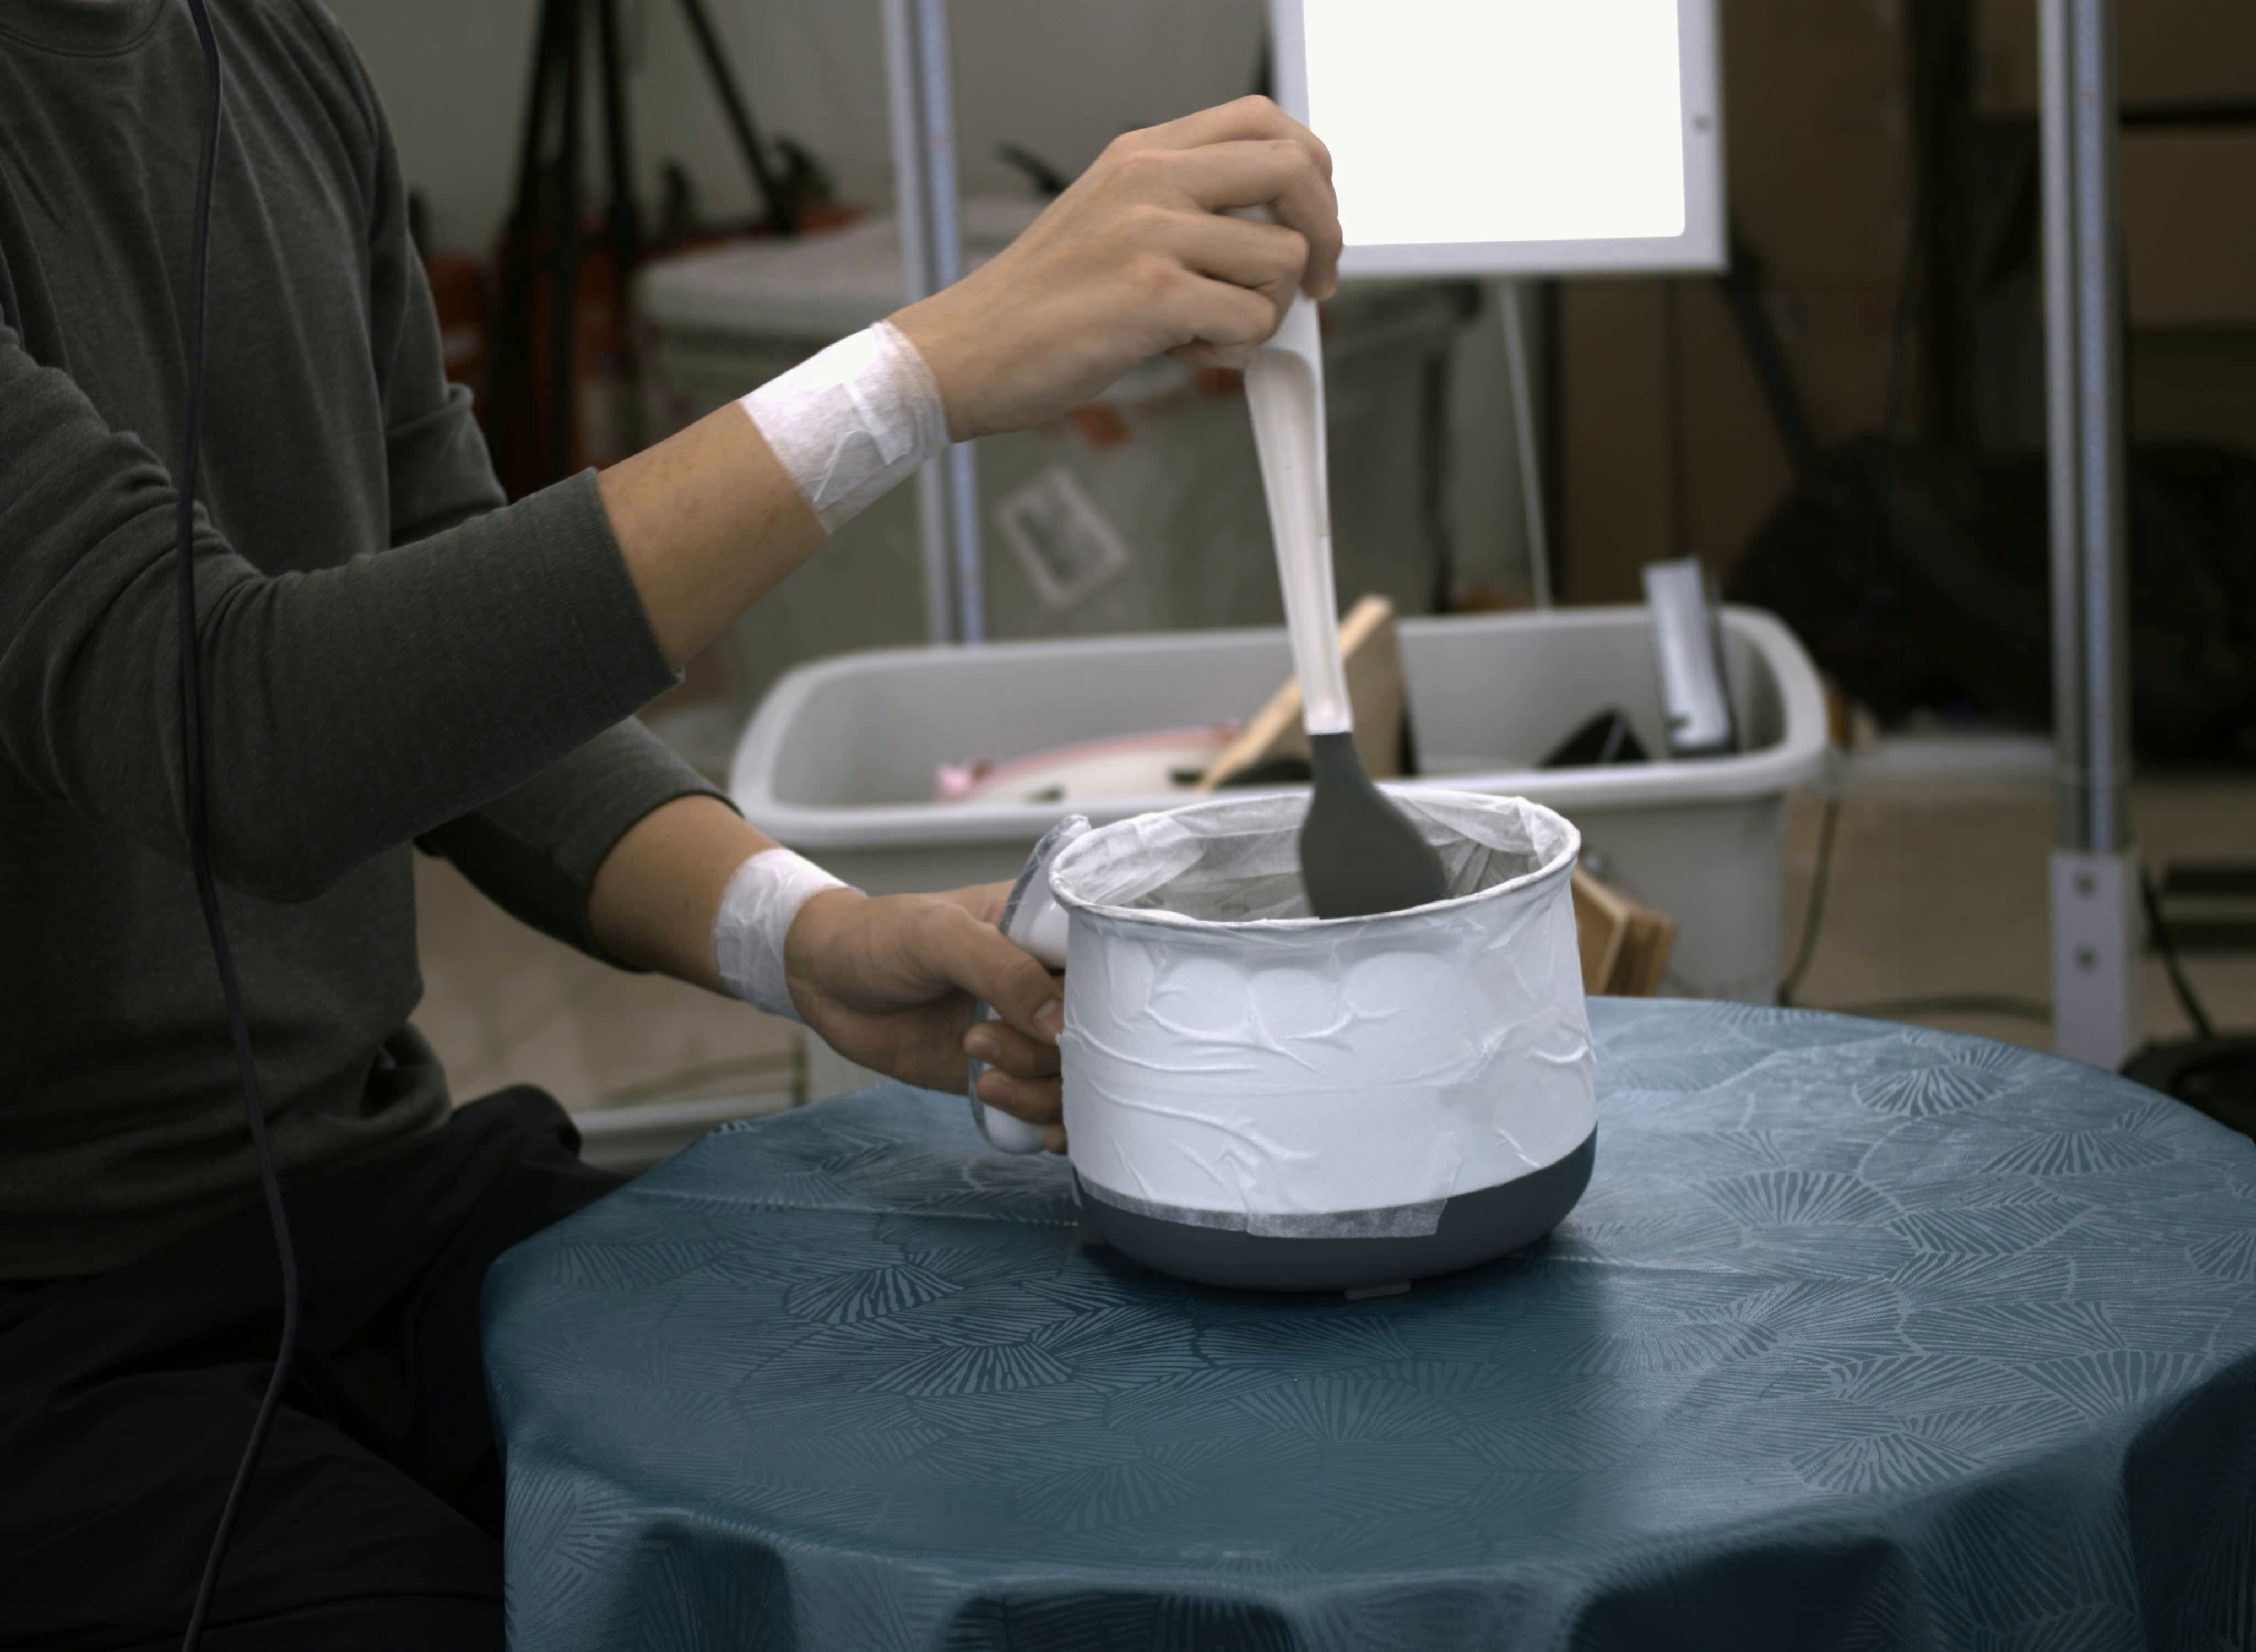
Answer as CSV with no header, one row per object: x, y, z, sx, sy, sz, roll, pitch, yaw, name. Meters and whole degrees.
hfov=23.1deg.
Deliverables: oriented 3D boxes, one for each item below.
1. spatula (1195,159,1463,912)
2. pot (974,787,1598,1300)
0.067,-0.069,1.760,0.060,0.288,0.031,-7,12,27,spatula
0.044,0.069,1.838,0.238,0.137,0.174,5,17,37,pot
